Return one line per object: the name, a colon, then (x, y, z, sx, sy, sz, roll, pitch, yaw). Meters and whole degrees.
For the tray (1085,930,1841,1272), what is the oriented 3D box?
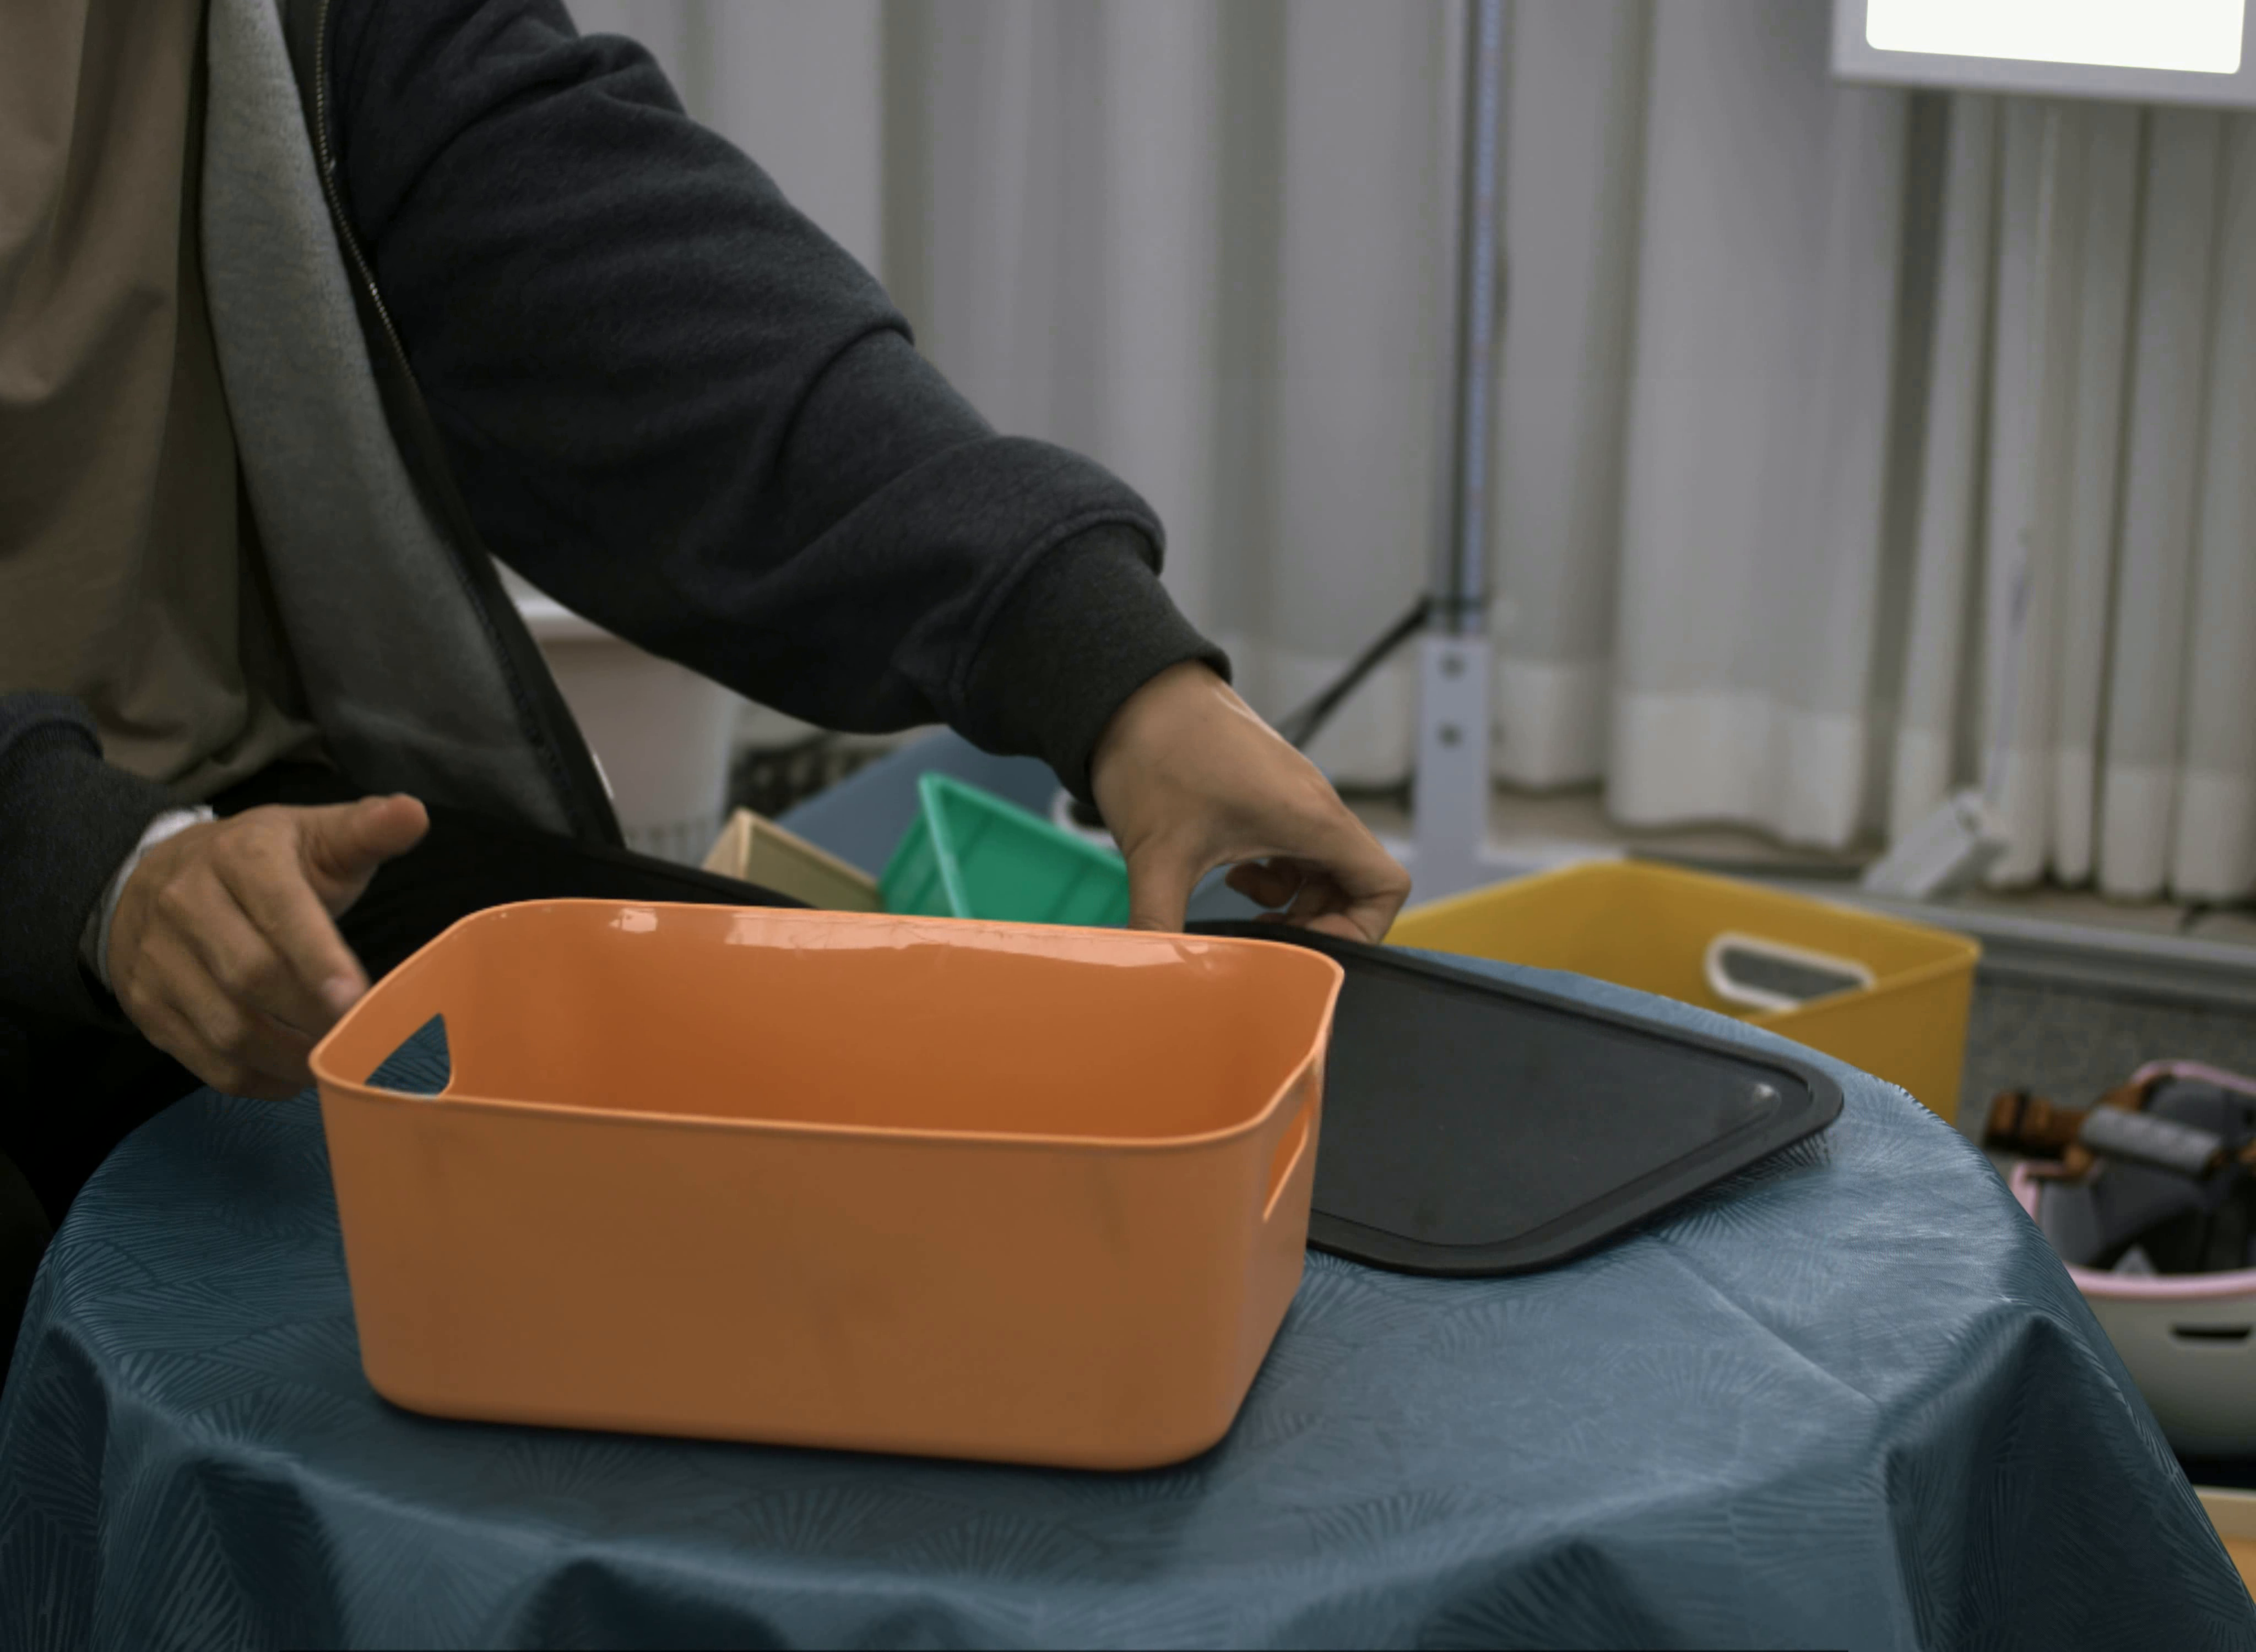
tray: (0.055, 0.082, 1.705, 0.321, 0.010, 0.212, 14, 23, 40)

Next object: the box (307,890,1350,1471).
box: (-0.079, 0.097, 1.478, 0.271, 0.103, 0.199, 4, 16, 10)
